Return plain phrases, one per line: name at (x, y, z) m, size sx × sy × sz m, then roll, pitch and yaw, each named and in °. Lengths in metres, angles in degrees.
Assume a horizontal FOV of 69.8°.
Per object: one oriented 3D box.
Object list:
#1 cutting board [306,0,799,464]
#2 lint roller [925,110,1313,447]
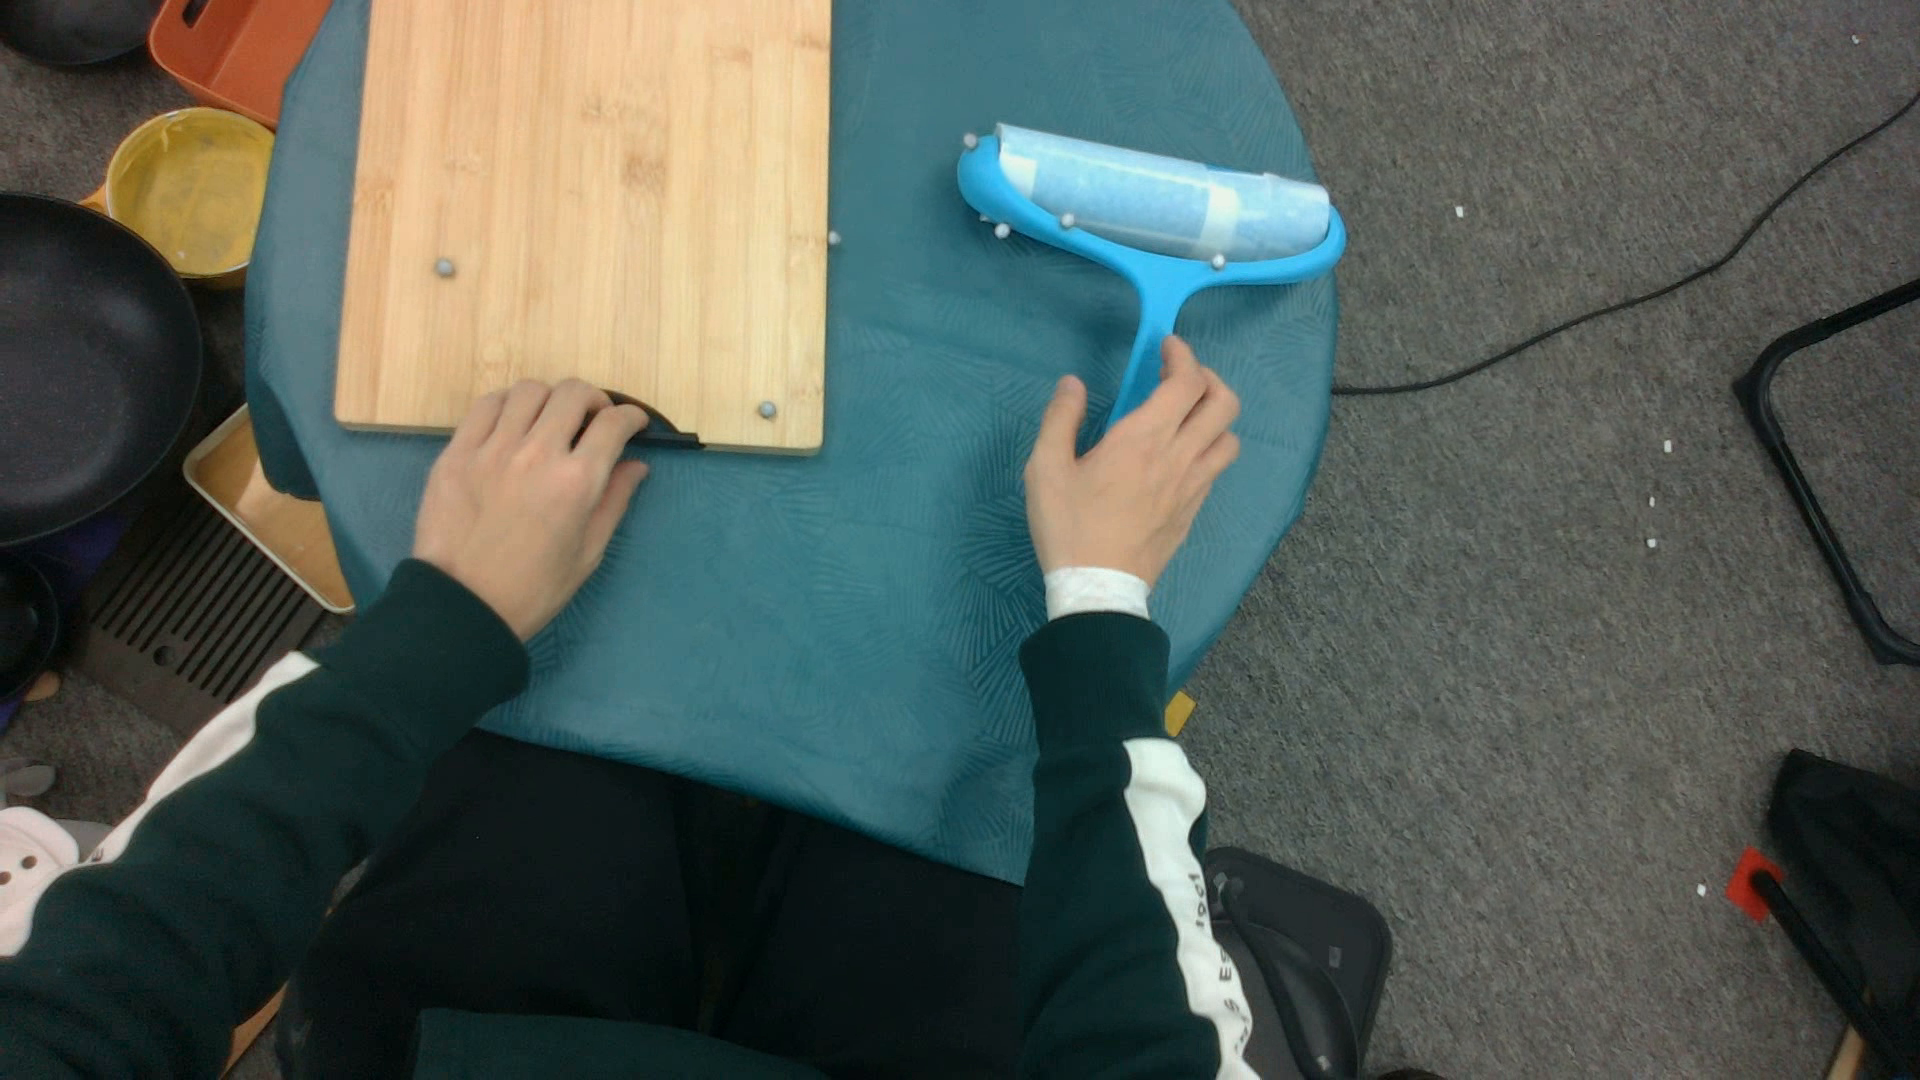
cutting board at (-0.209, -0.212, 0.742) m, size 0.251 × 0.023 × 0.349 m, roll 0°, pitch 79°, yaw -13°
lint roller at (0.092, -0.147, 0.777) m, size 0.229 × 0.068 × 0.180 m, roll 3°, pitch 78°, yaw -14°
